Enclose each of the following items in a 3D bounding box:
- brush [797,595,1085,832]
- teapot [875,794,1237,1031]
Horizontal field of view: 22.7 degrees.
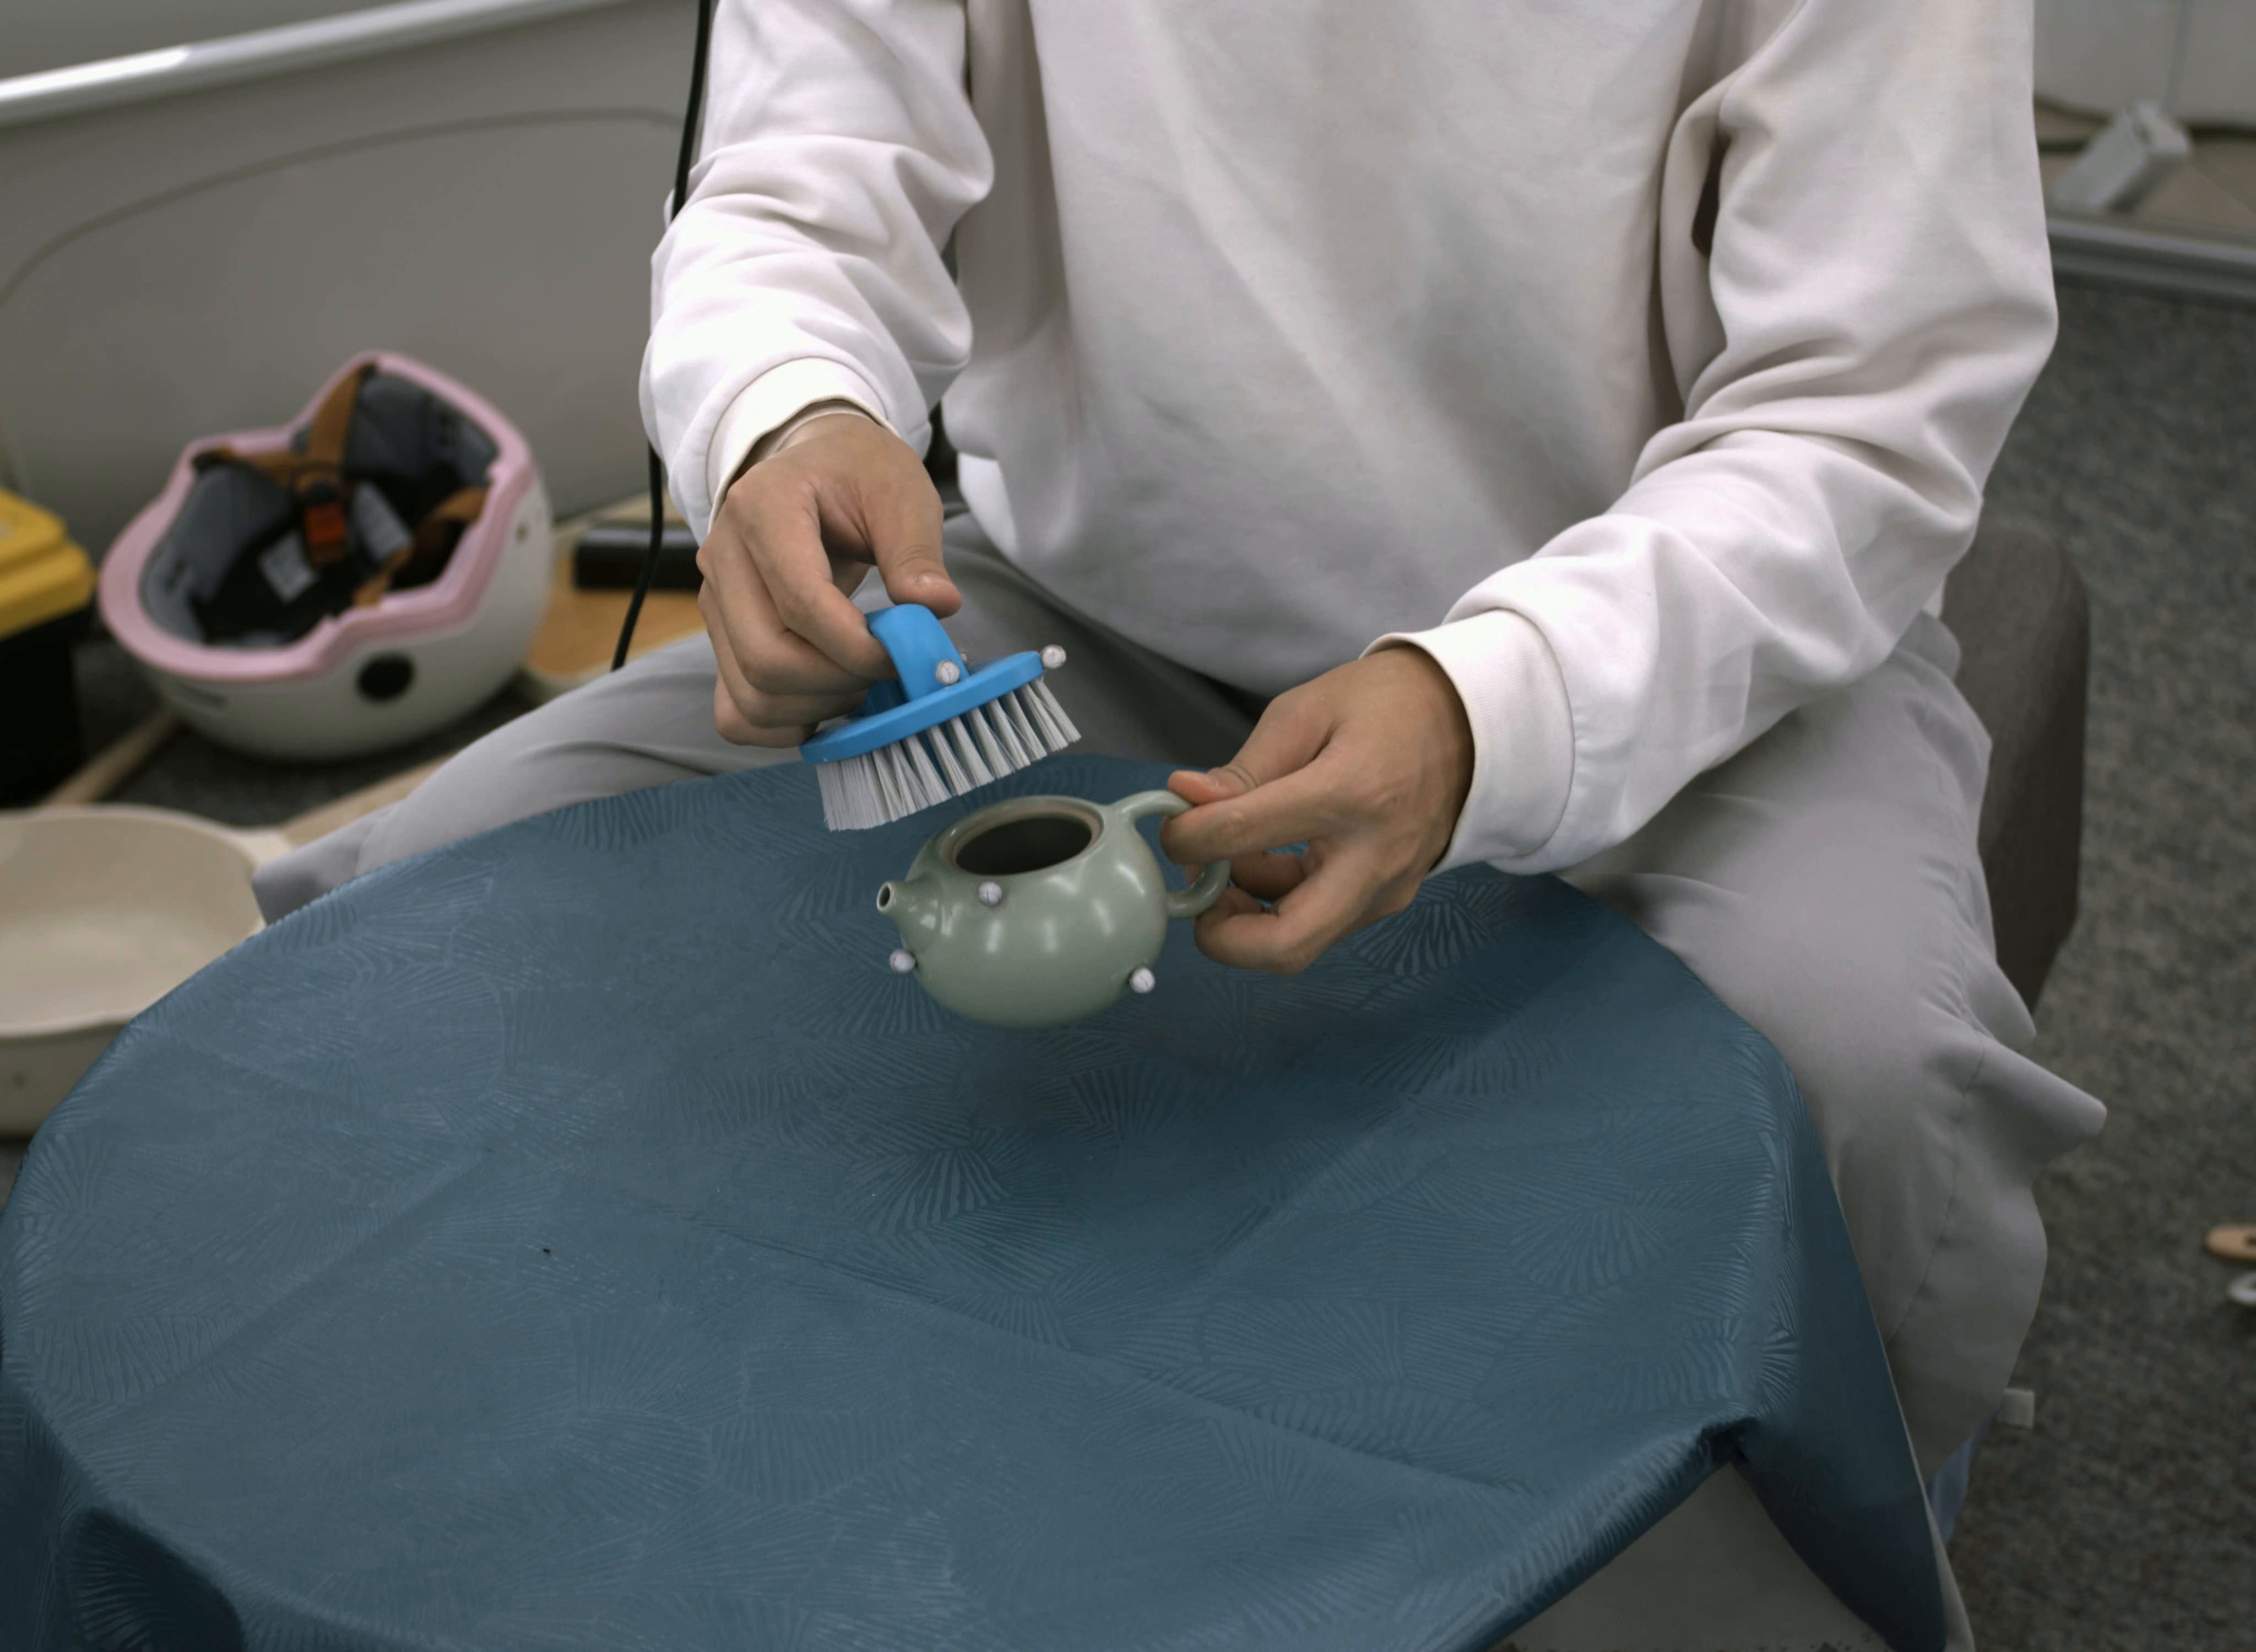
[{"bbox_3d":[-0.071,-0.044,1.872,0.084,0.064,0.141,-29,4,-12],"label":"brush"},{"bbox_3d":[-0.022,0.028,1.893,0.129,0.060,0.092,-17,24,-17],"label":"teapot"}]
